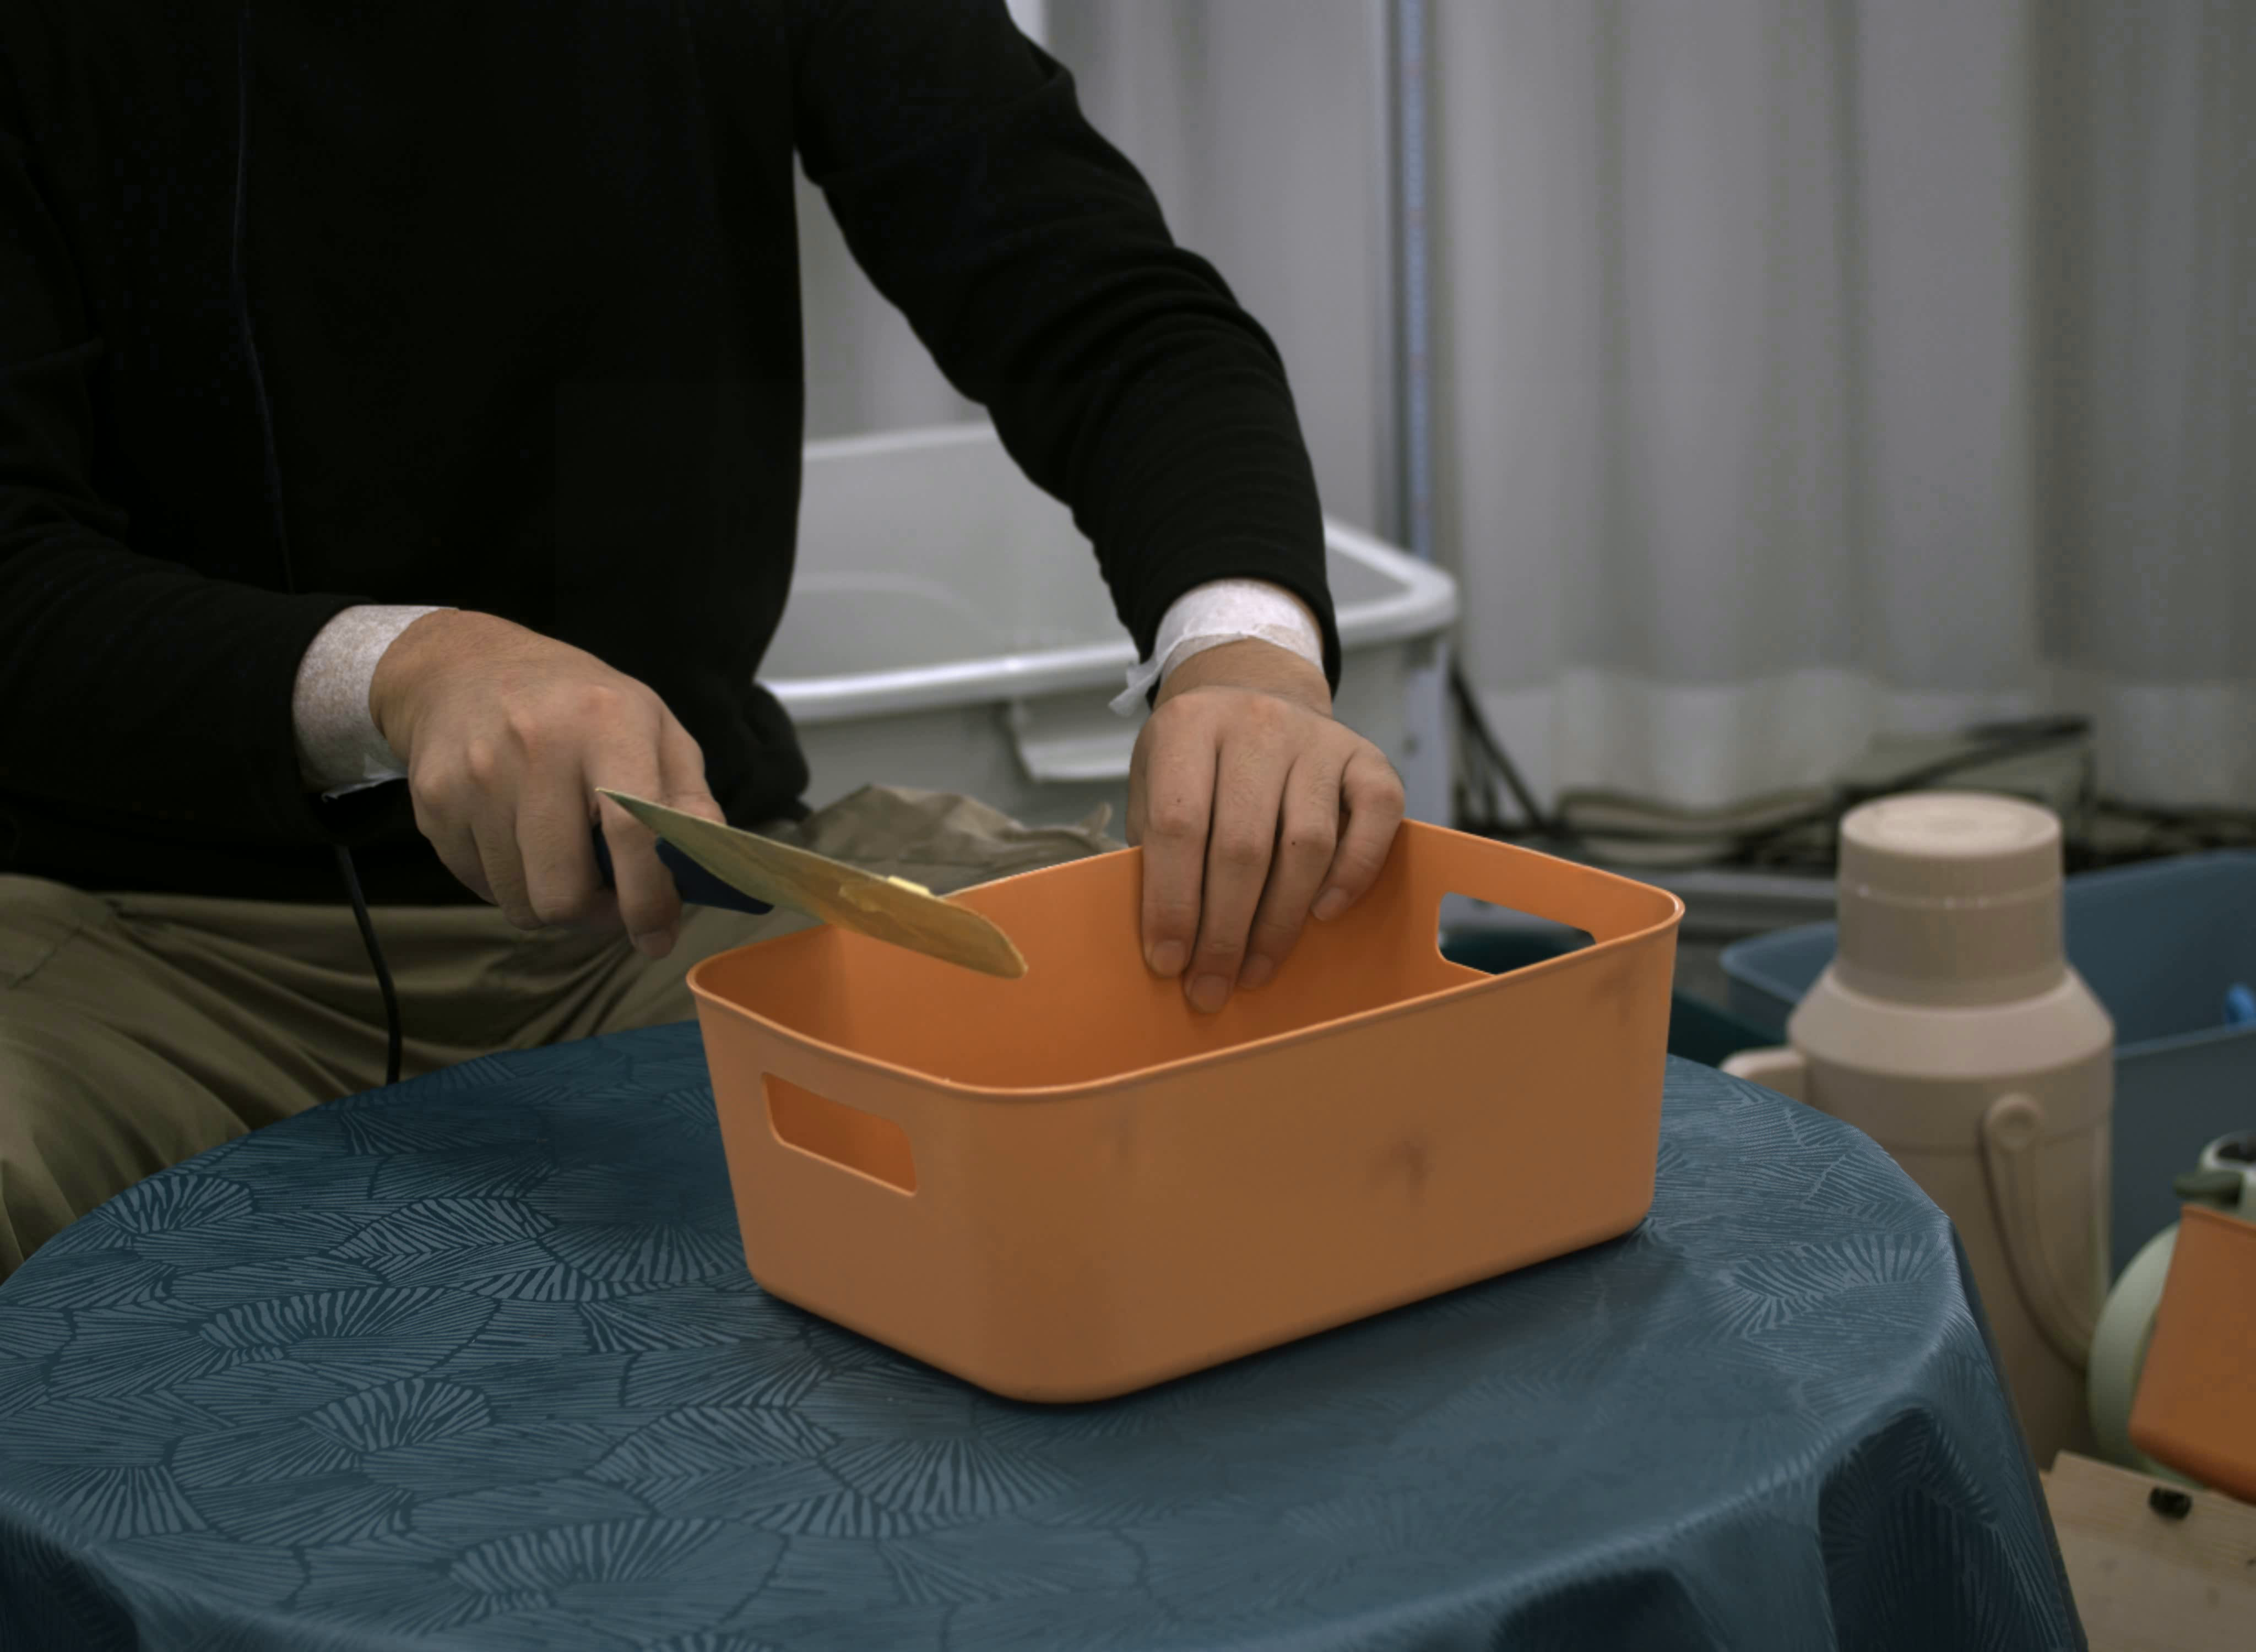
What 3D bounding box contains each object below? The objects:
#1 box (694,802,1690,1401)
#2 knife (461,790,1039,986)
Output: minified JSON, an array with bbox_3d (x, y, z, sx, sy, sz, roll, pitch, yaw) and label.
[{"bbox_3d":[0.021,0.079,1.641,0.272,0.102,0.201,-14,19,-35],"label":"box"},{"bbox_3d":[-0.123,0.013,1.659,0.291,0.027,0.080,11,-24,50],"label":"knife"}]
